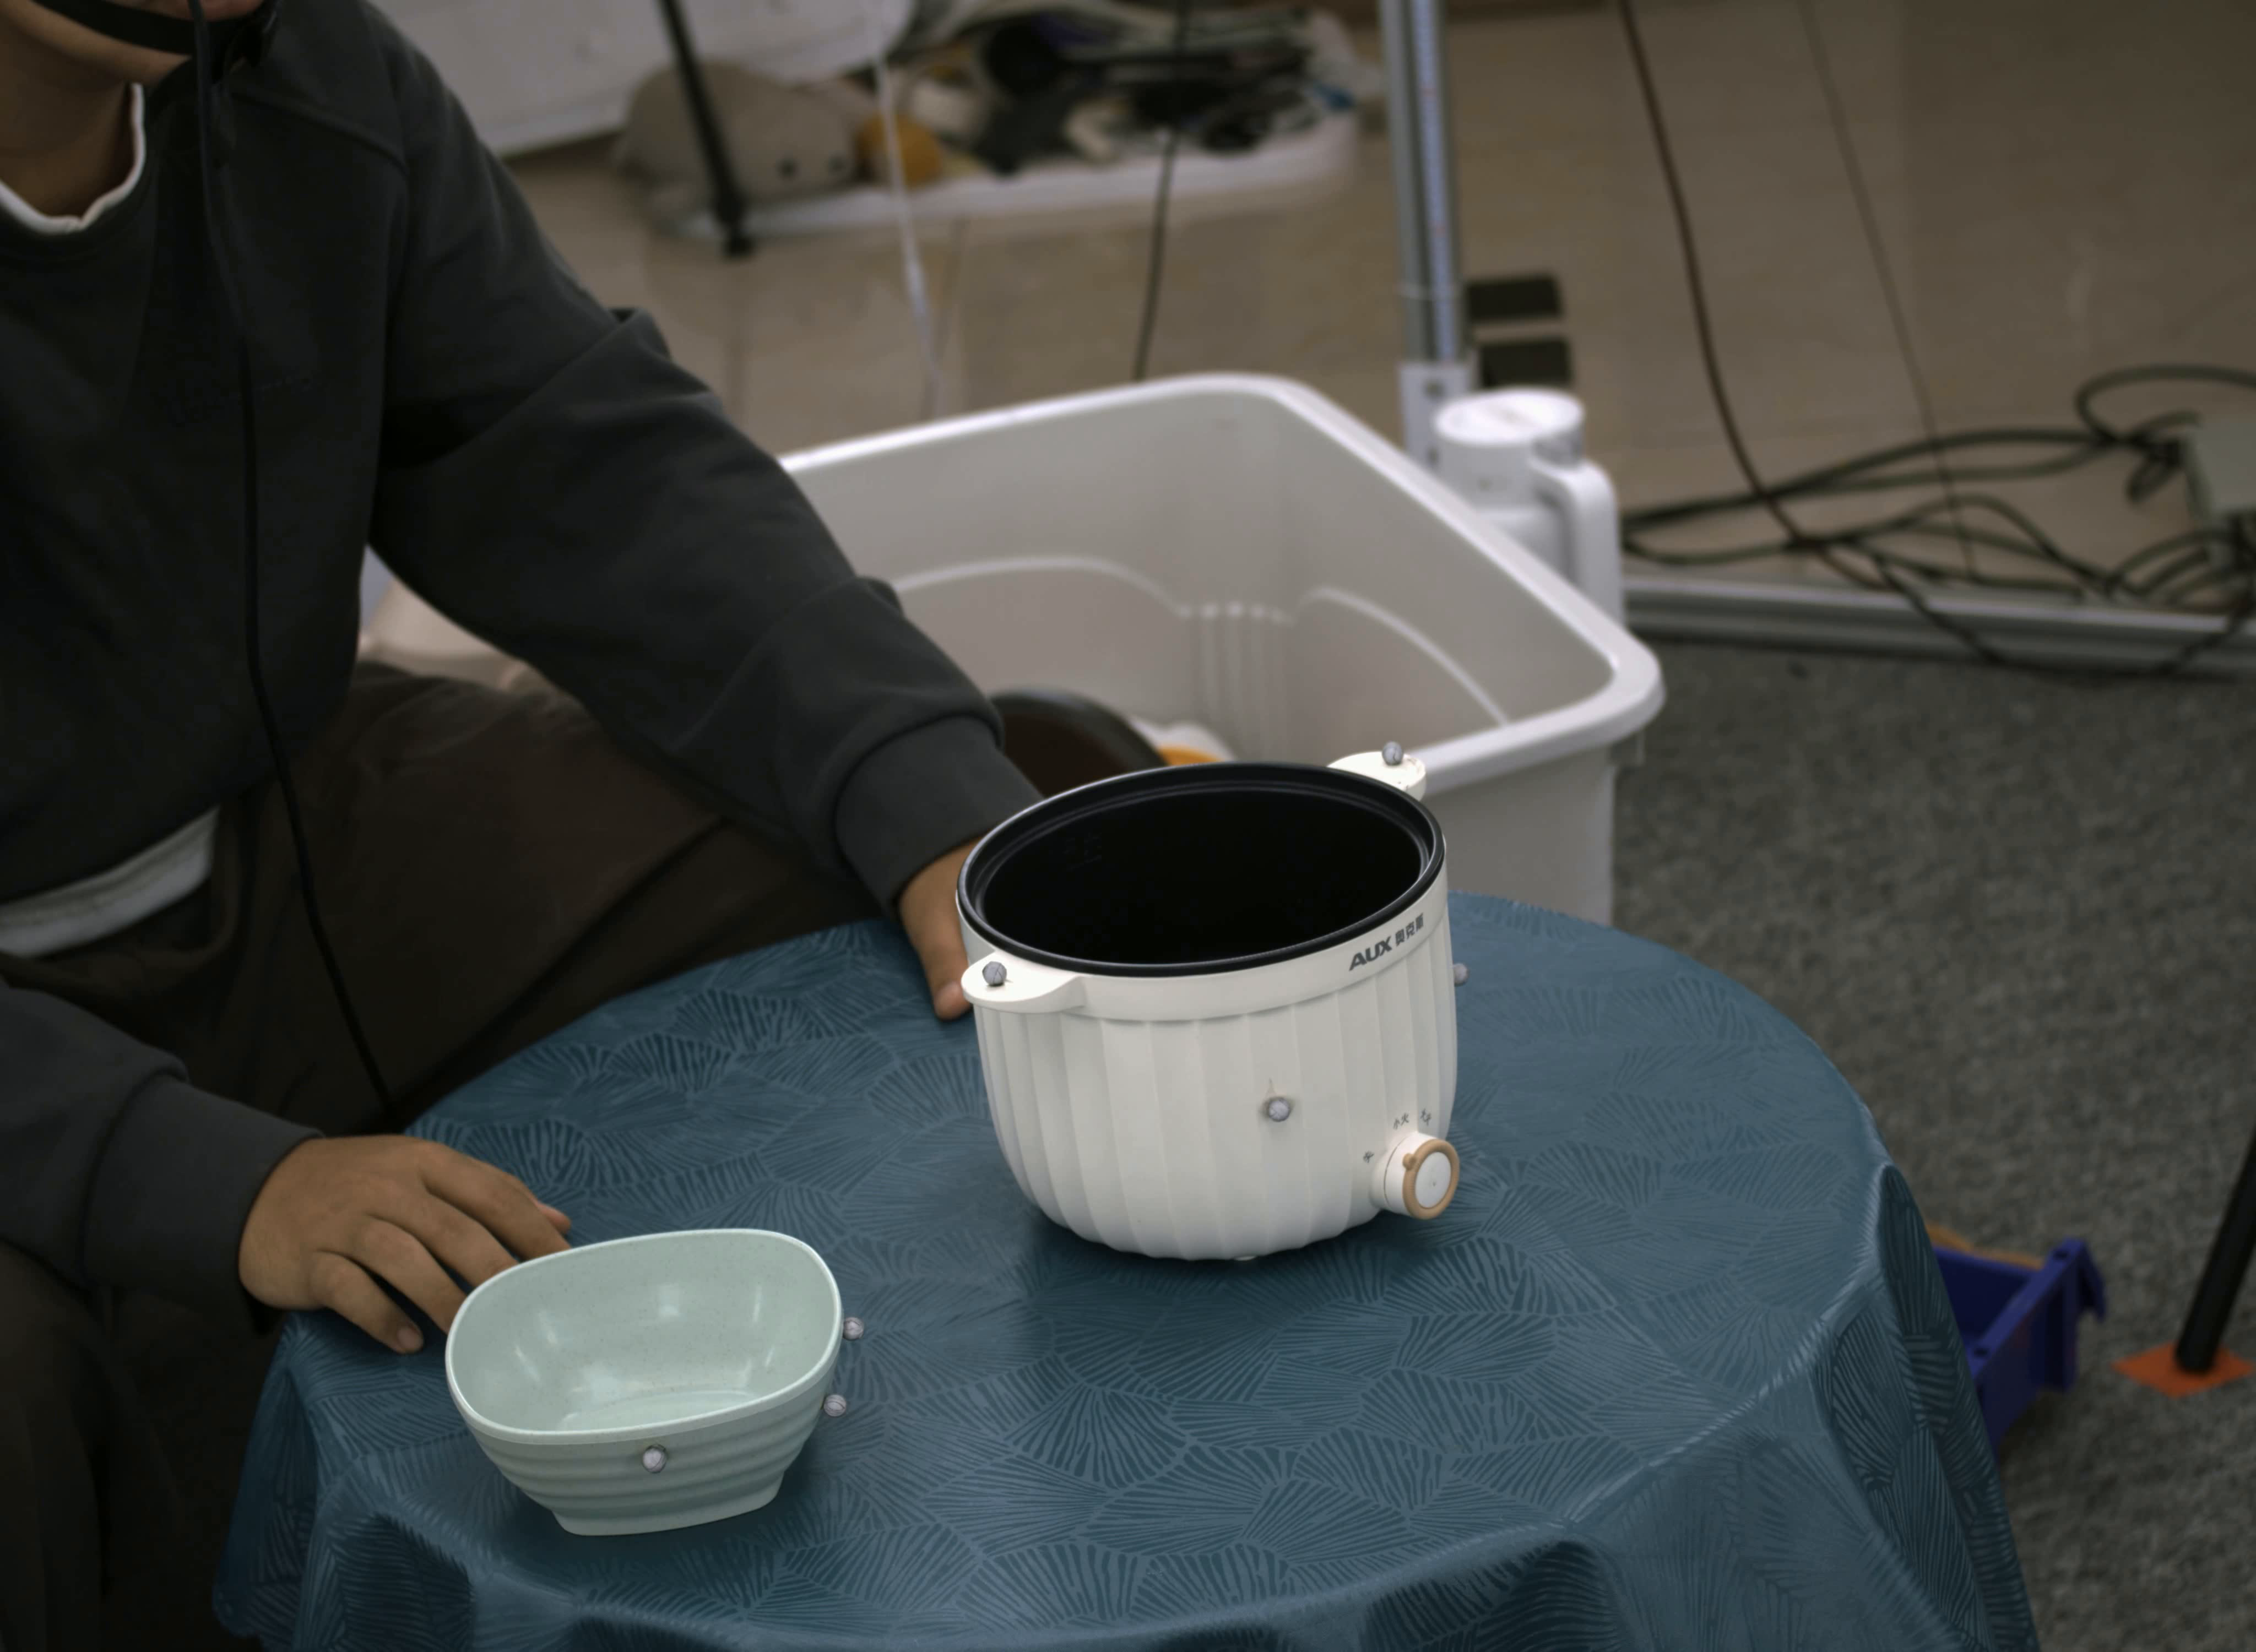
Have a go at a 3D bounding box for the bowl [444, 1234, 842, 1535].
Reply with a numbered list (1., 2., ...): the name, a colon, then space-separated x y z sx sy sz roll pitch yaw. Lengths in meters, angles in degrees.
1. bowl: -0.167 0.201 1.986 0.151 0.059 0.149 -4 24 2

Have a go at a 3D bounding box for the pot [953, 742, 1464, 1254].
1. pot: 0.038 0.071 2.115 0.189 0.145 0.238 12 32 40
